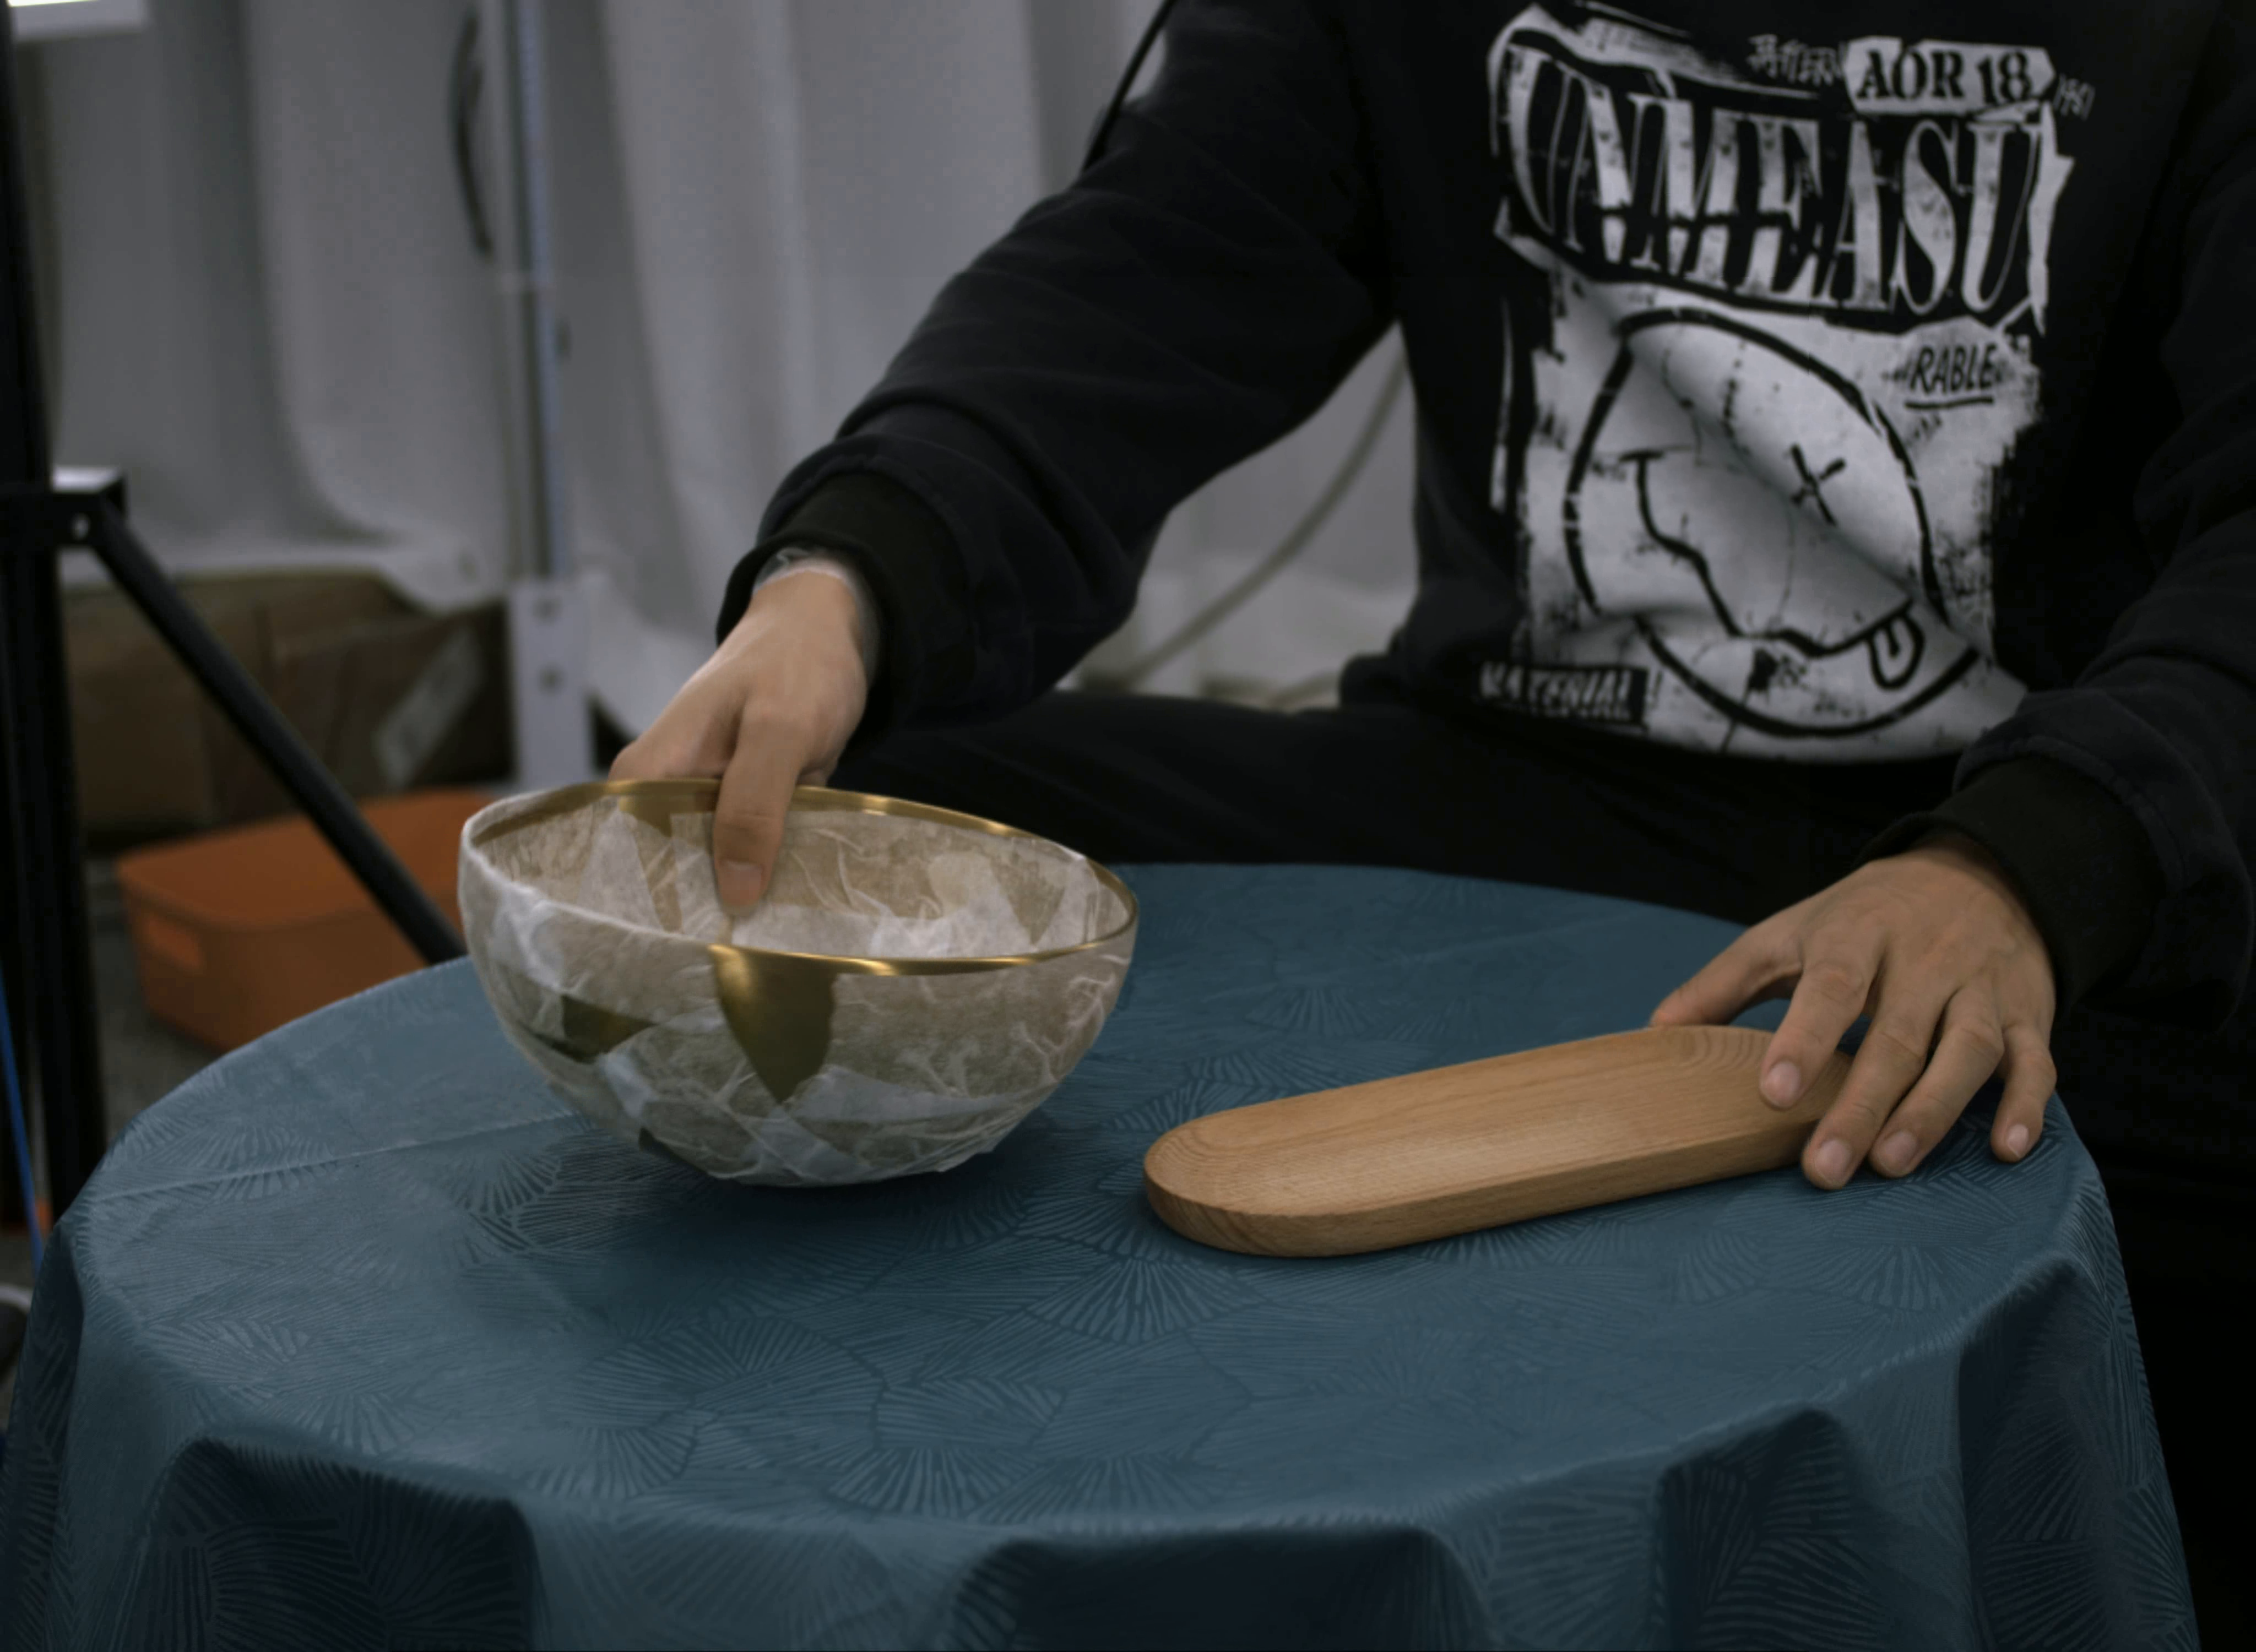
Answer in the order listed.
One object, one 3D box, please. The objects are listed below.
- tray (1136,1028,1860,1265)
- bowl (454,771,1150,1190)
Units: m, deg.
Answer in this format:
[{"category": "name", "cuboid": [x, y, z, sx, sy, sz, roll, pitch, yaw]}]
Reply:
[{"category": "tray", "cuboid": [0.111, 0.094, 1.561, 0.226, 0.020, 0.104, -12, 16, -23]}, {"category": "bowl", "cuboid": [-0.097, 0.054, 1.584, 0.213, 0.095, 0.215, 4, 13, -2]}]
